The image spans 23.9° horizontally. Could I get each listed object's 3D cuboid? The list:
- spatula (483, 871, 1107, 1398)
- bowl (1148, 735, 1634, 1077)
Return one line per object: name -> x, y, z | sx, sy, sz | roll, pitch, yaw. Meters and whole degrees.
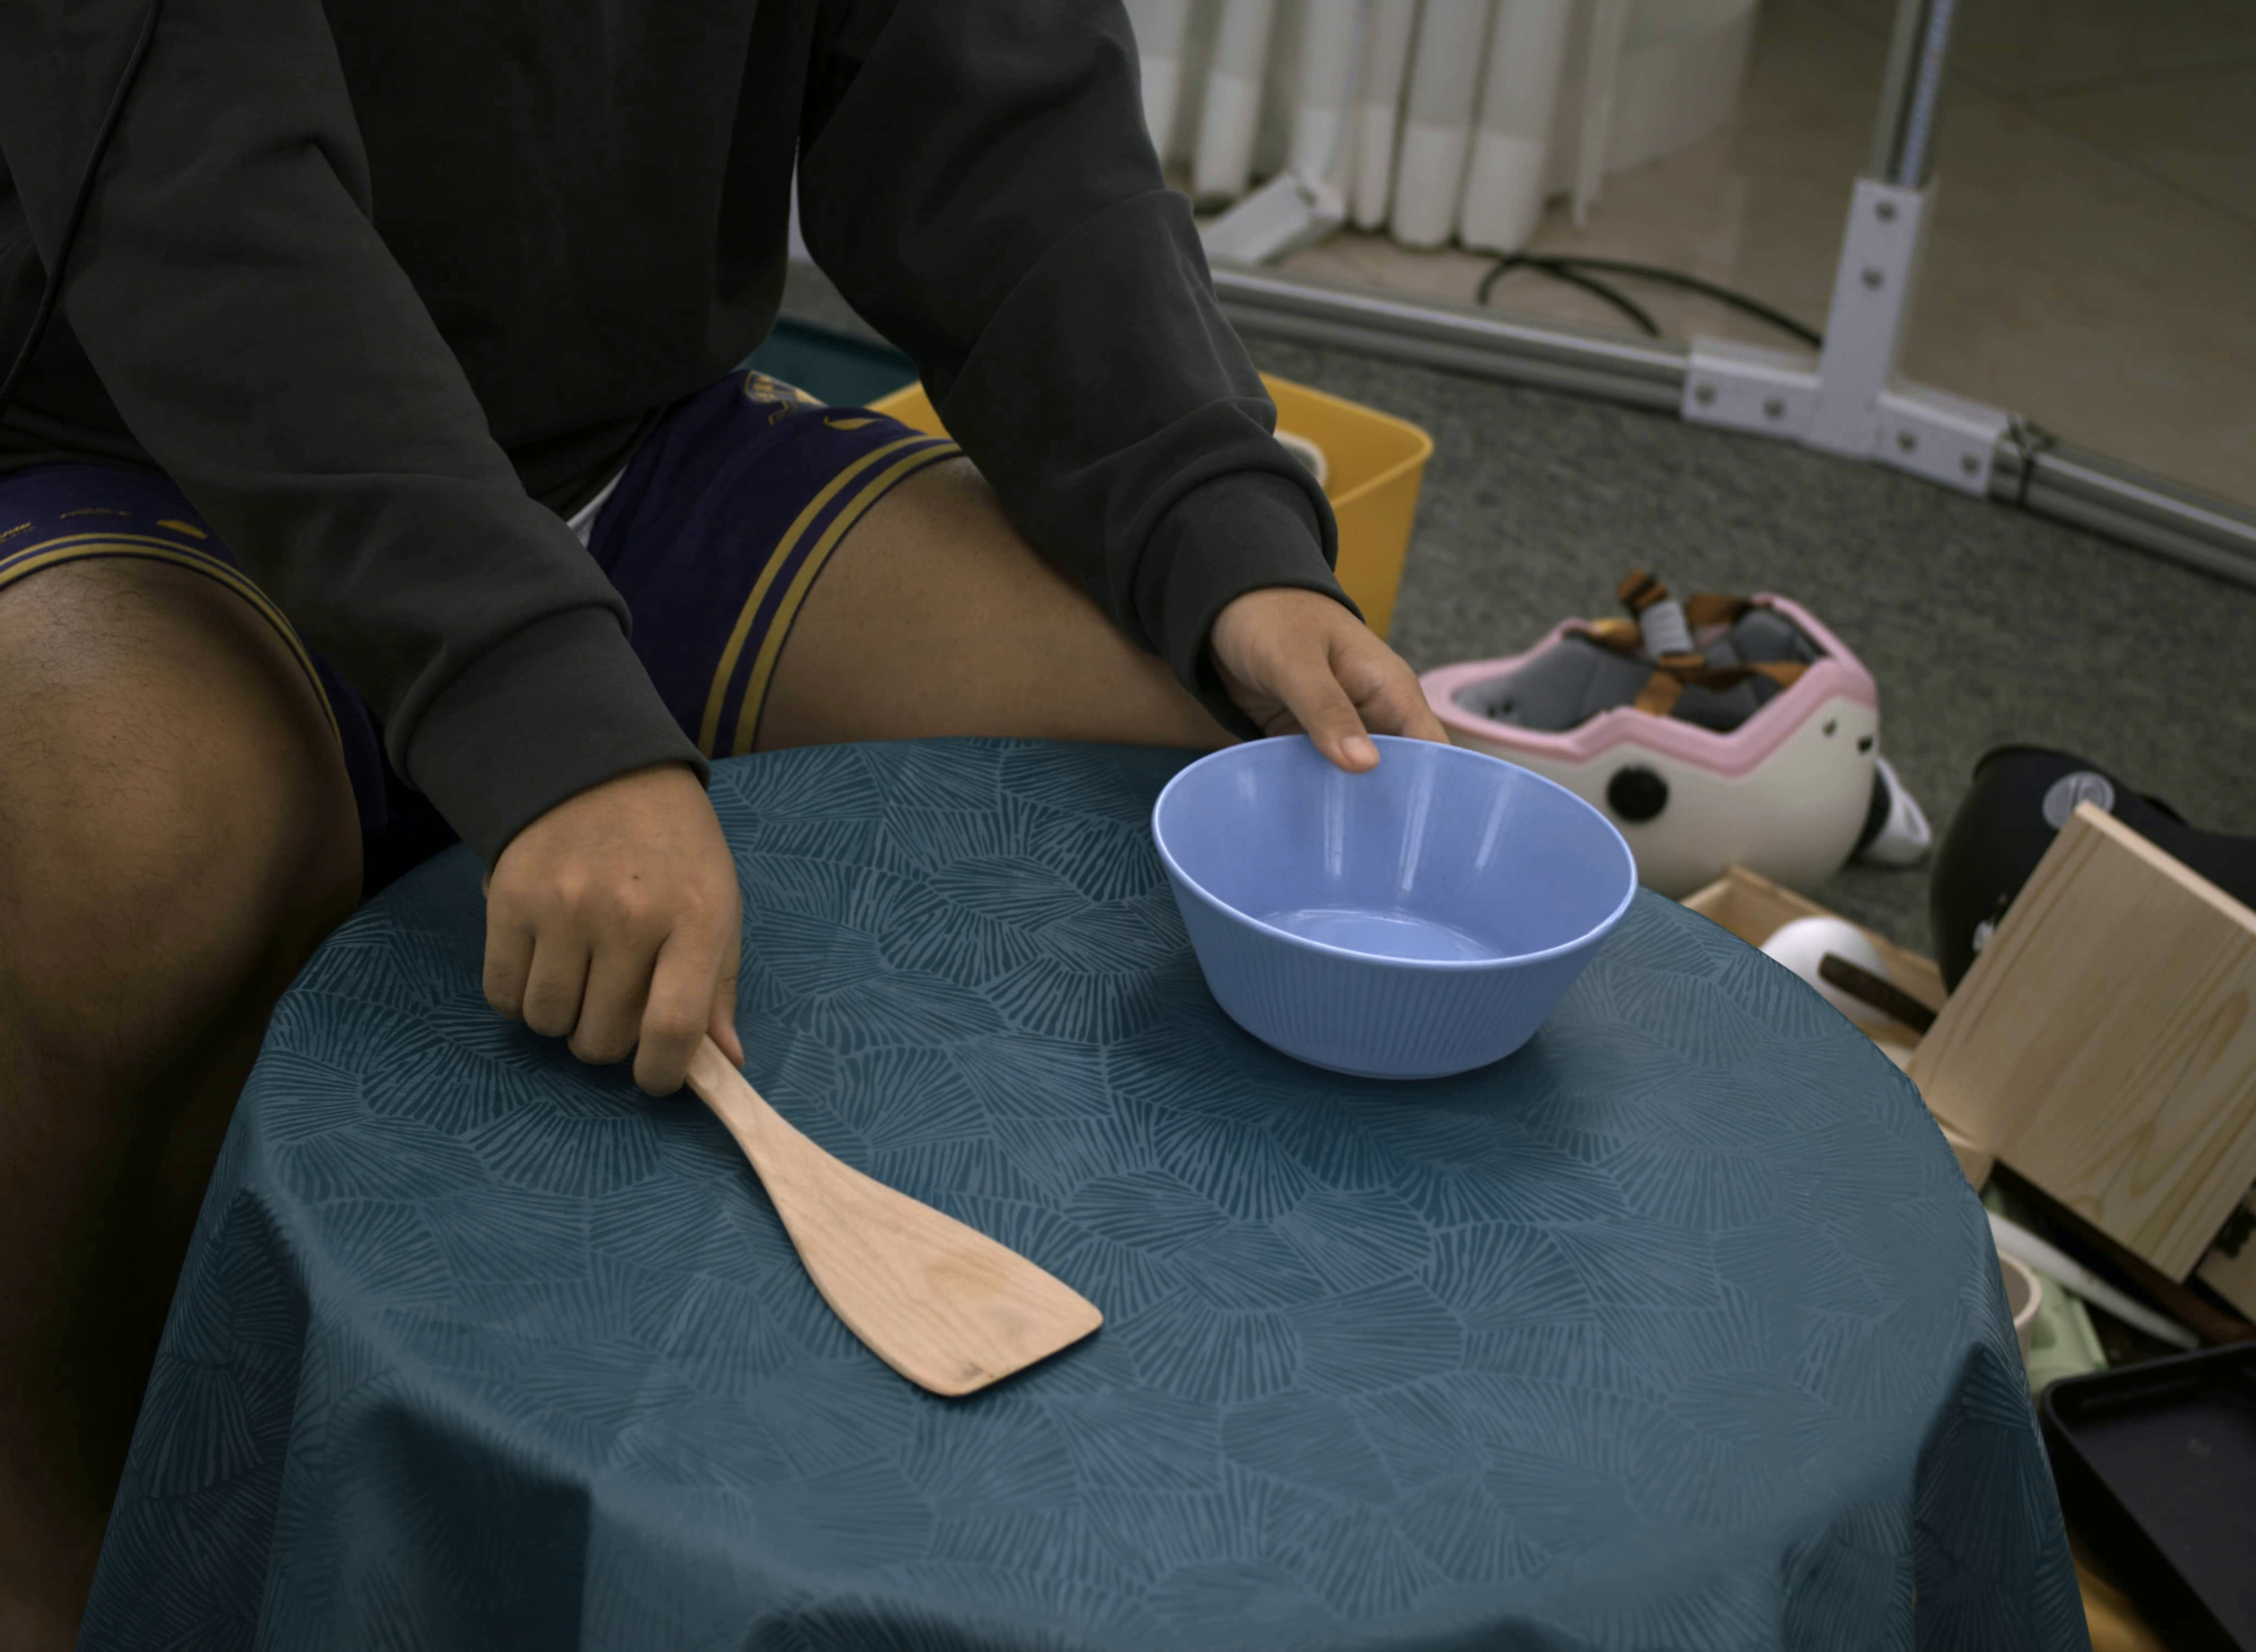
spatula -> -0.125, 0.096, 1.794 | 0.079, 0.016, 0.330 | -14, 39, -36
bowl -> 0.091, 0.034, 1.920 | 0.175, 0.070, 0.177 | 5, 27, -3
